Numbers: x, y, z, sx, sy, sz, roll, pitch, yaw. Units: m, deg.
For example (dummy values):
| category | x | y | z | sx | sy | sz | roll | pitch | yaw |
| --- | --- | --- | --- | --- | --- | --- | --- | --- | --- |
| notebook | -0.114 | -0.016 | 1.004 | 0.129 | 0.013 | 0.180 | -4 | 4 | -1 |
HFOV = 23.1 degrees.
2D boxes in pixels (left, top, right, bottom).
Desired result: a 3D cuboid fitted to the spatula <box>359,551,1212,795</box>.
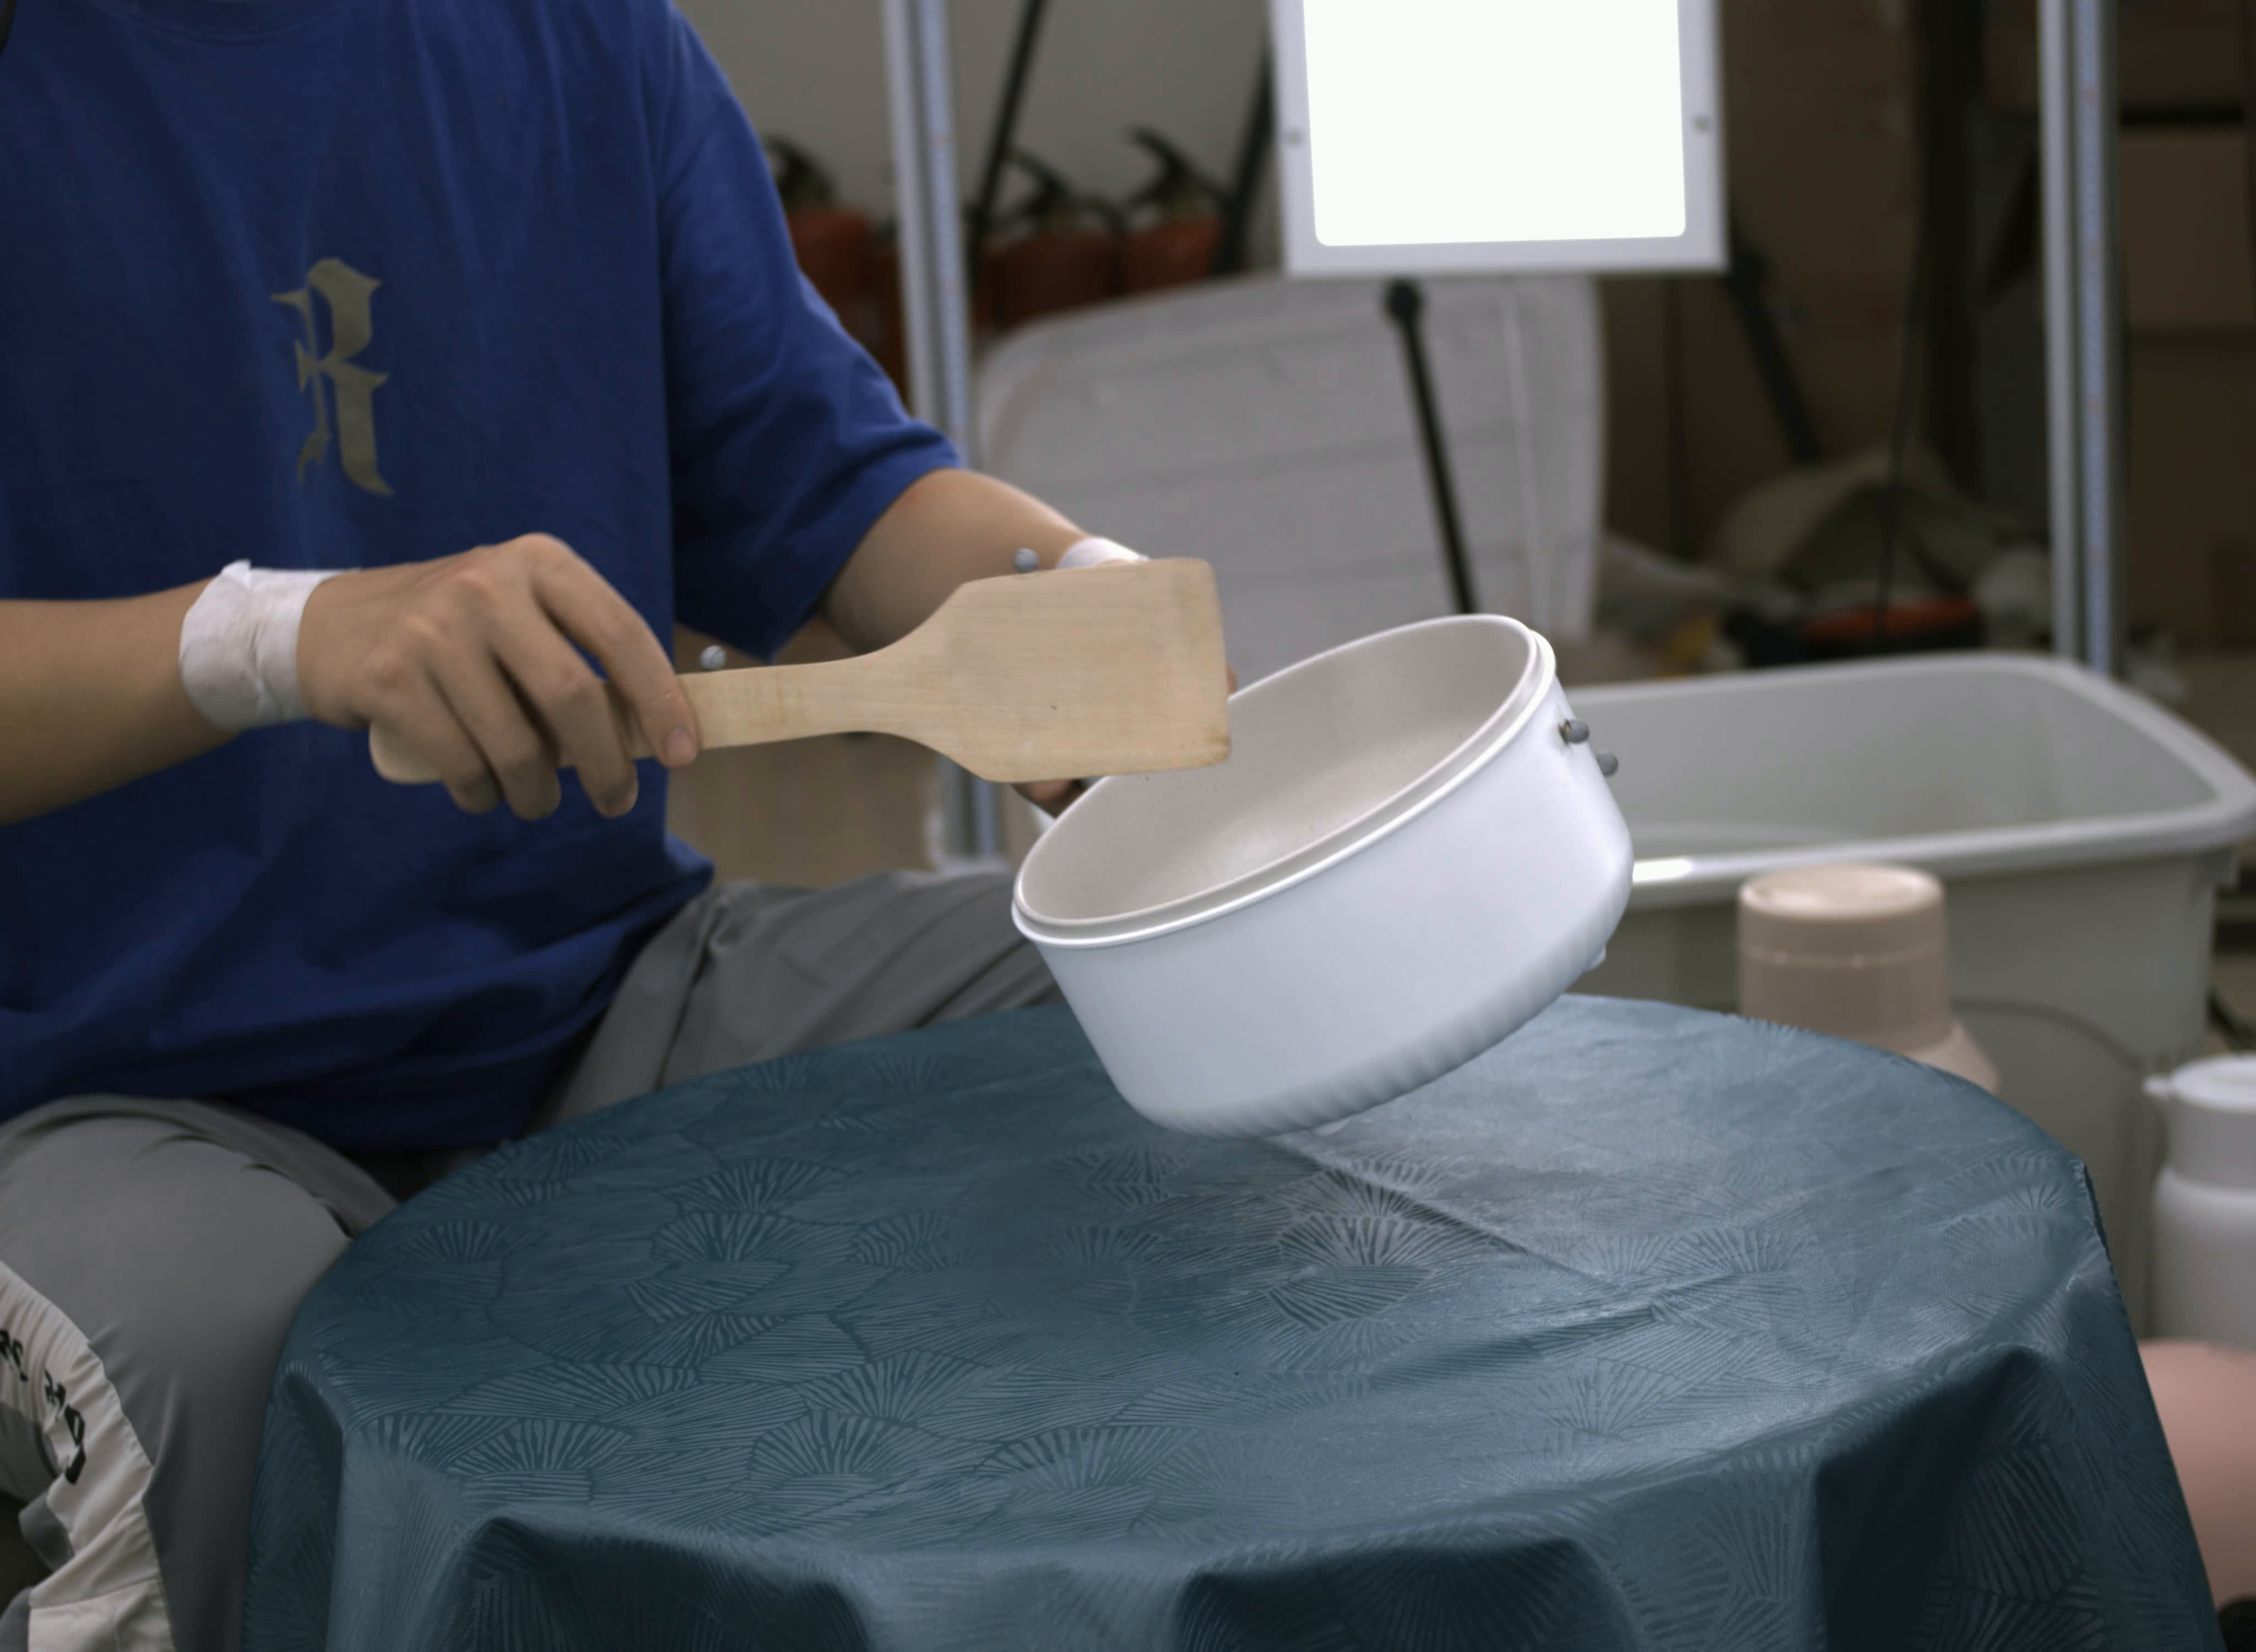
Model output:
| category | x | y | z | sx | sy | sz | roll | pitch | yaw |
| --- | --- | --- | --- | --- | --- | --- | --- | --- | --- |
| spatula | -0.117 | -0.041 | 1.834 | 0.295 | 0.072 | 0.010 | -6 | 1 | 14 |

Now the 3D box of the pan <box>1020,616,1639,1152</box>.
| category | x | y | z | sx | sy | sz | roll | pitch | yaw |
| --- | --- | --- | --- | --- | --- | --- | --- | --- | --- |
| pan | 0.047 | 0.013 | 1.917 | 0.199 | 0.102 | 0.359 | -34 | 18 | -11 |
